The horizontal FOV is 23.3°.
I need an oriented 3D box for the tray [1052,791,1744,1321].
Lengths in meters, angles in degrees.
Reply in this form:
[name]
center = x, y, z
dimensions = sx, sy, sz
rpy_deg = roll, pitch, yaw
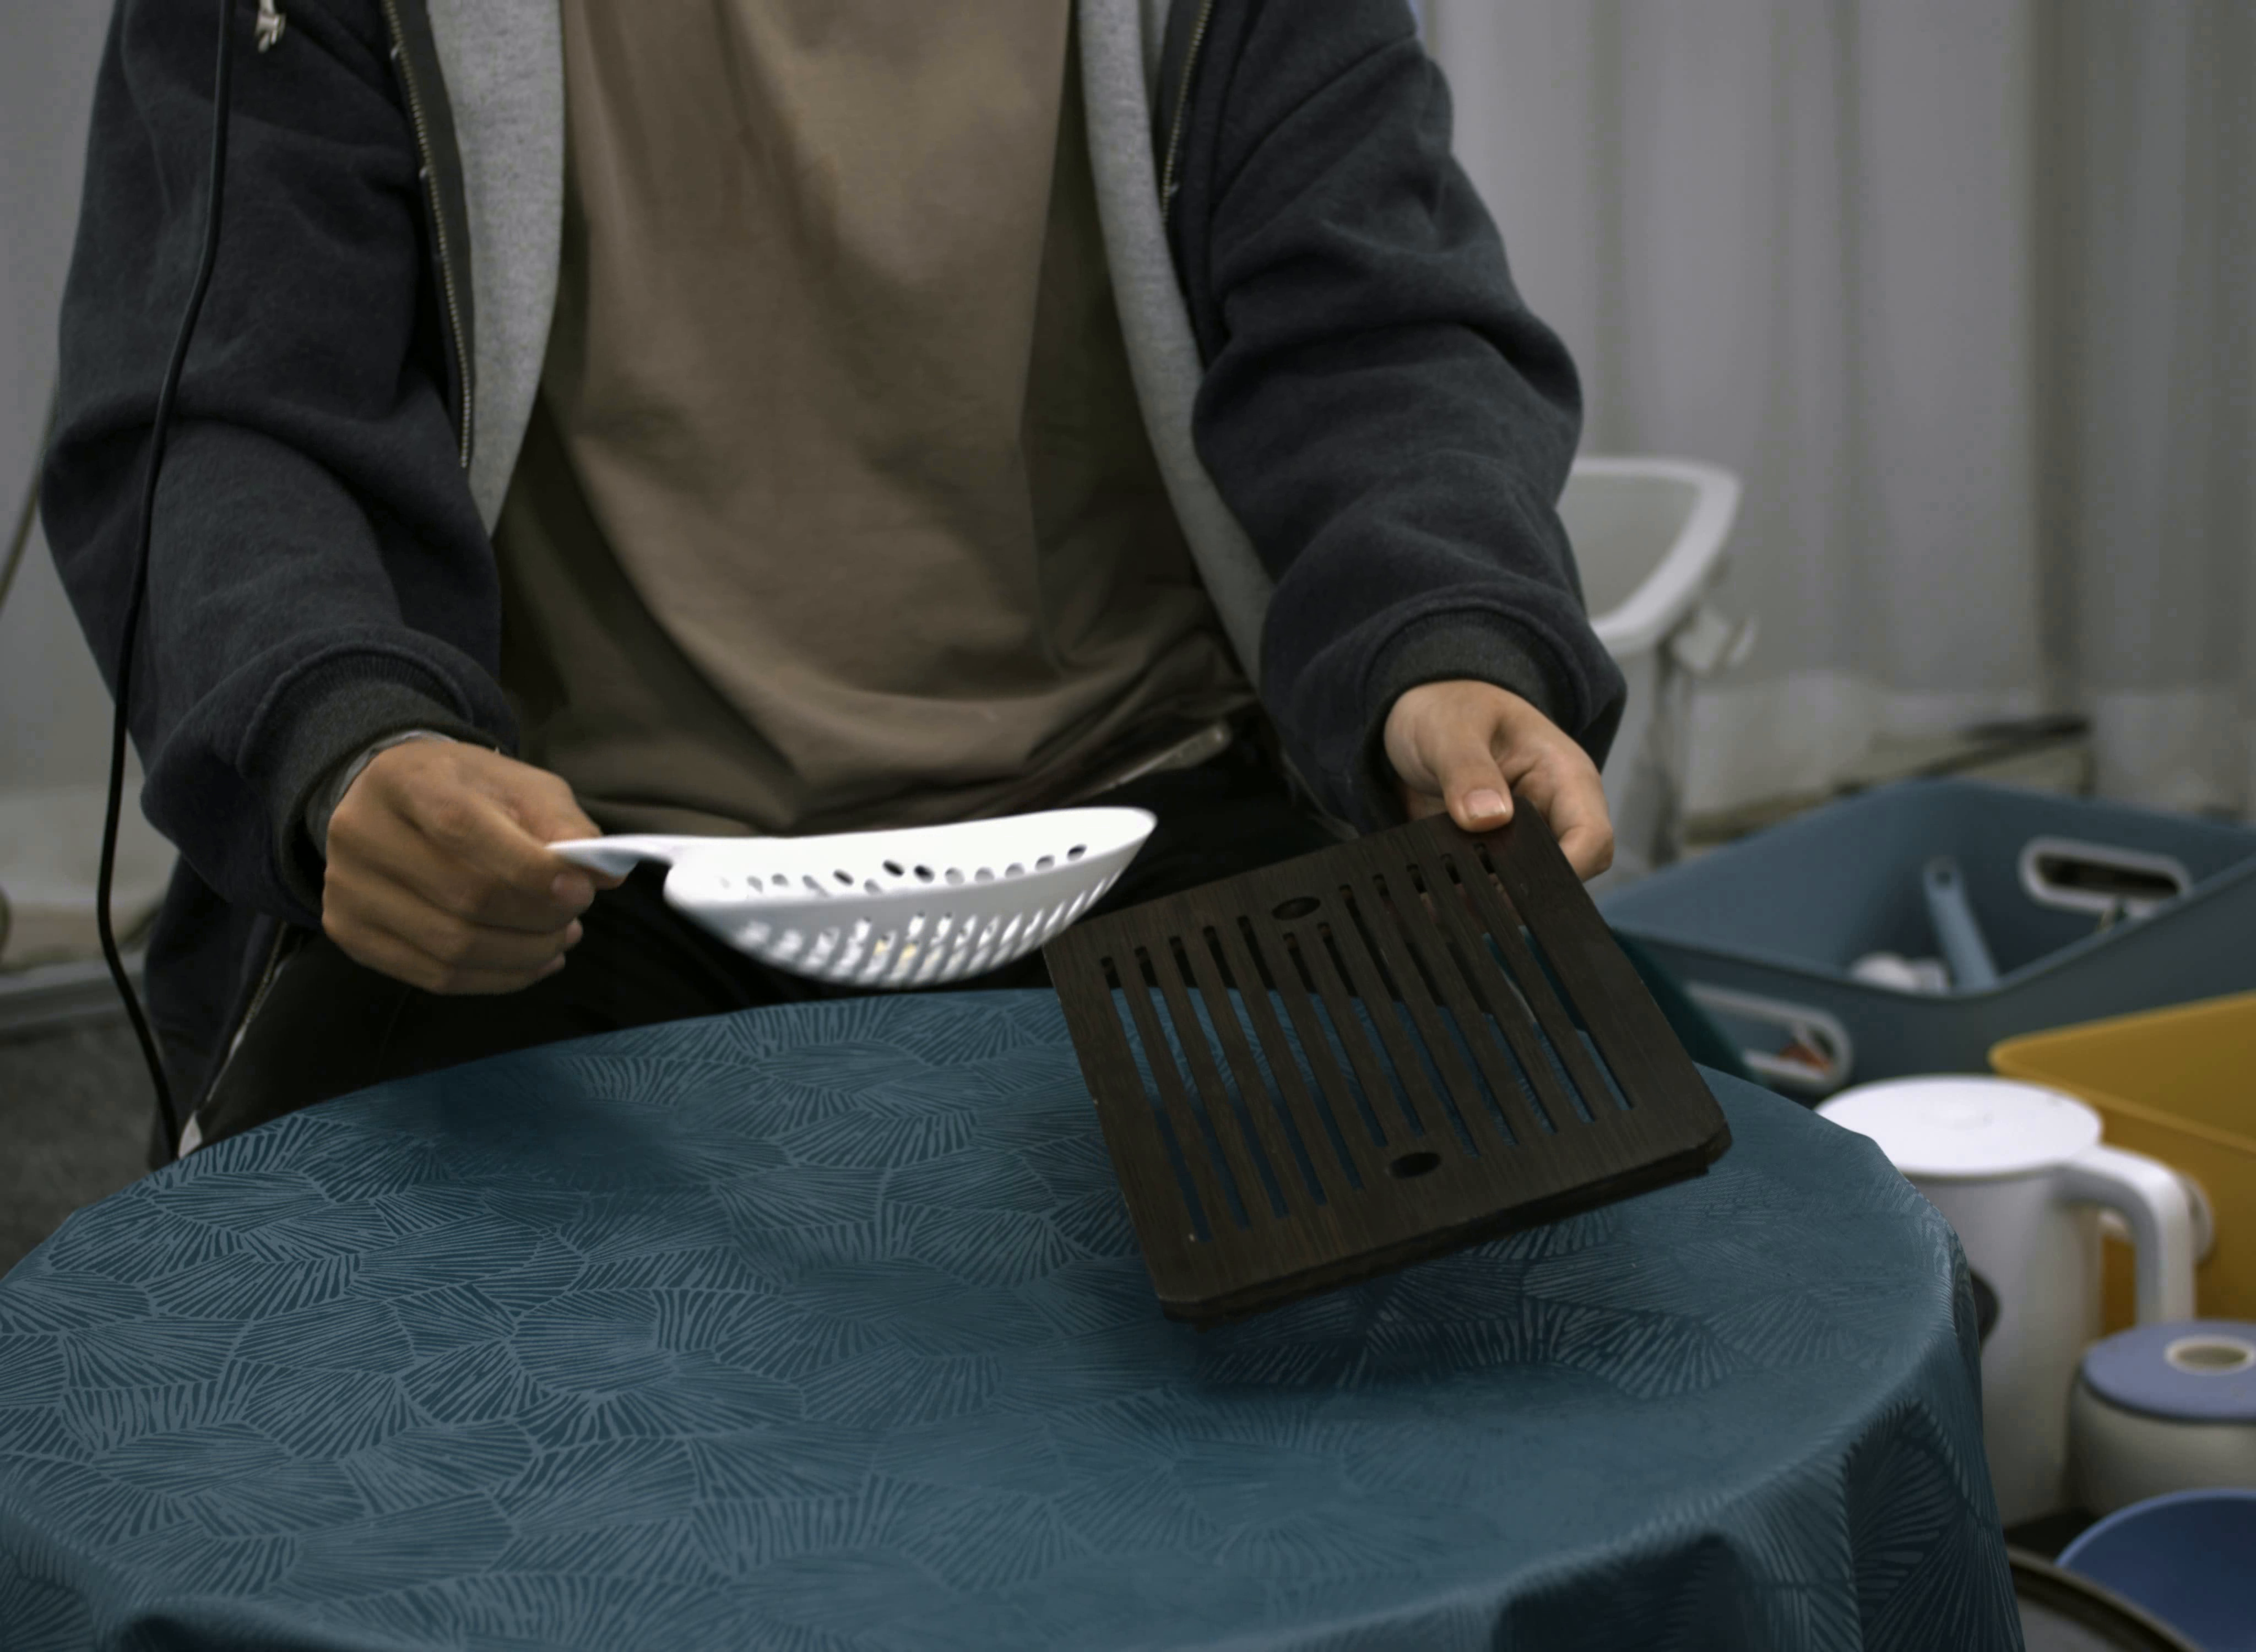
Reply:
[tray]
center = 0.075, 0.066, 1.671
dimensions = 0.169, 0.018, 0.309
rpy_deg = -17, 20, -2

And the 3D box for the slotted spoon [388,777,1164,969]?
[slotted spoon]
center = -0.126, 0.015, 1.681
dimensions = 0.136, 0.050, 0.349
rpy_deg = -14, 11, -38
